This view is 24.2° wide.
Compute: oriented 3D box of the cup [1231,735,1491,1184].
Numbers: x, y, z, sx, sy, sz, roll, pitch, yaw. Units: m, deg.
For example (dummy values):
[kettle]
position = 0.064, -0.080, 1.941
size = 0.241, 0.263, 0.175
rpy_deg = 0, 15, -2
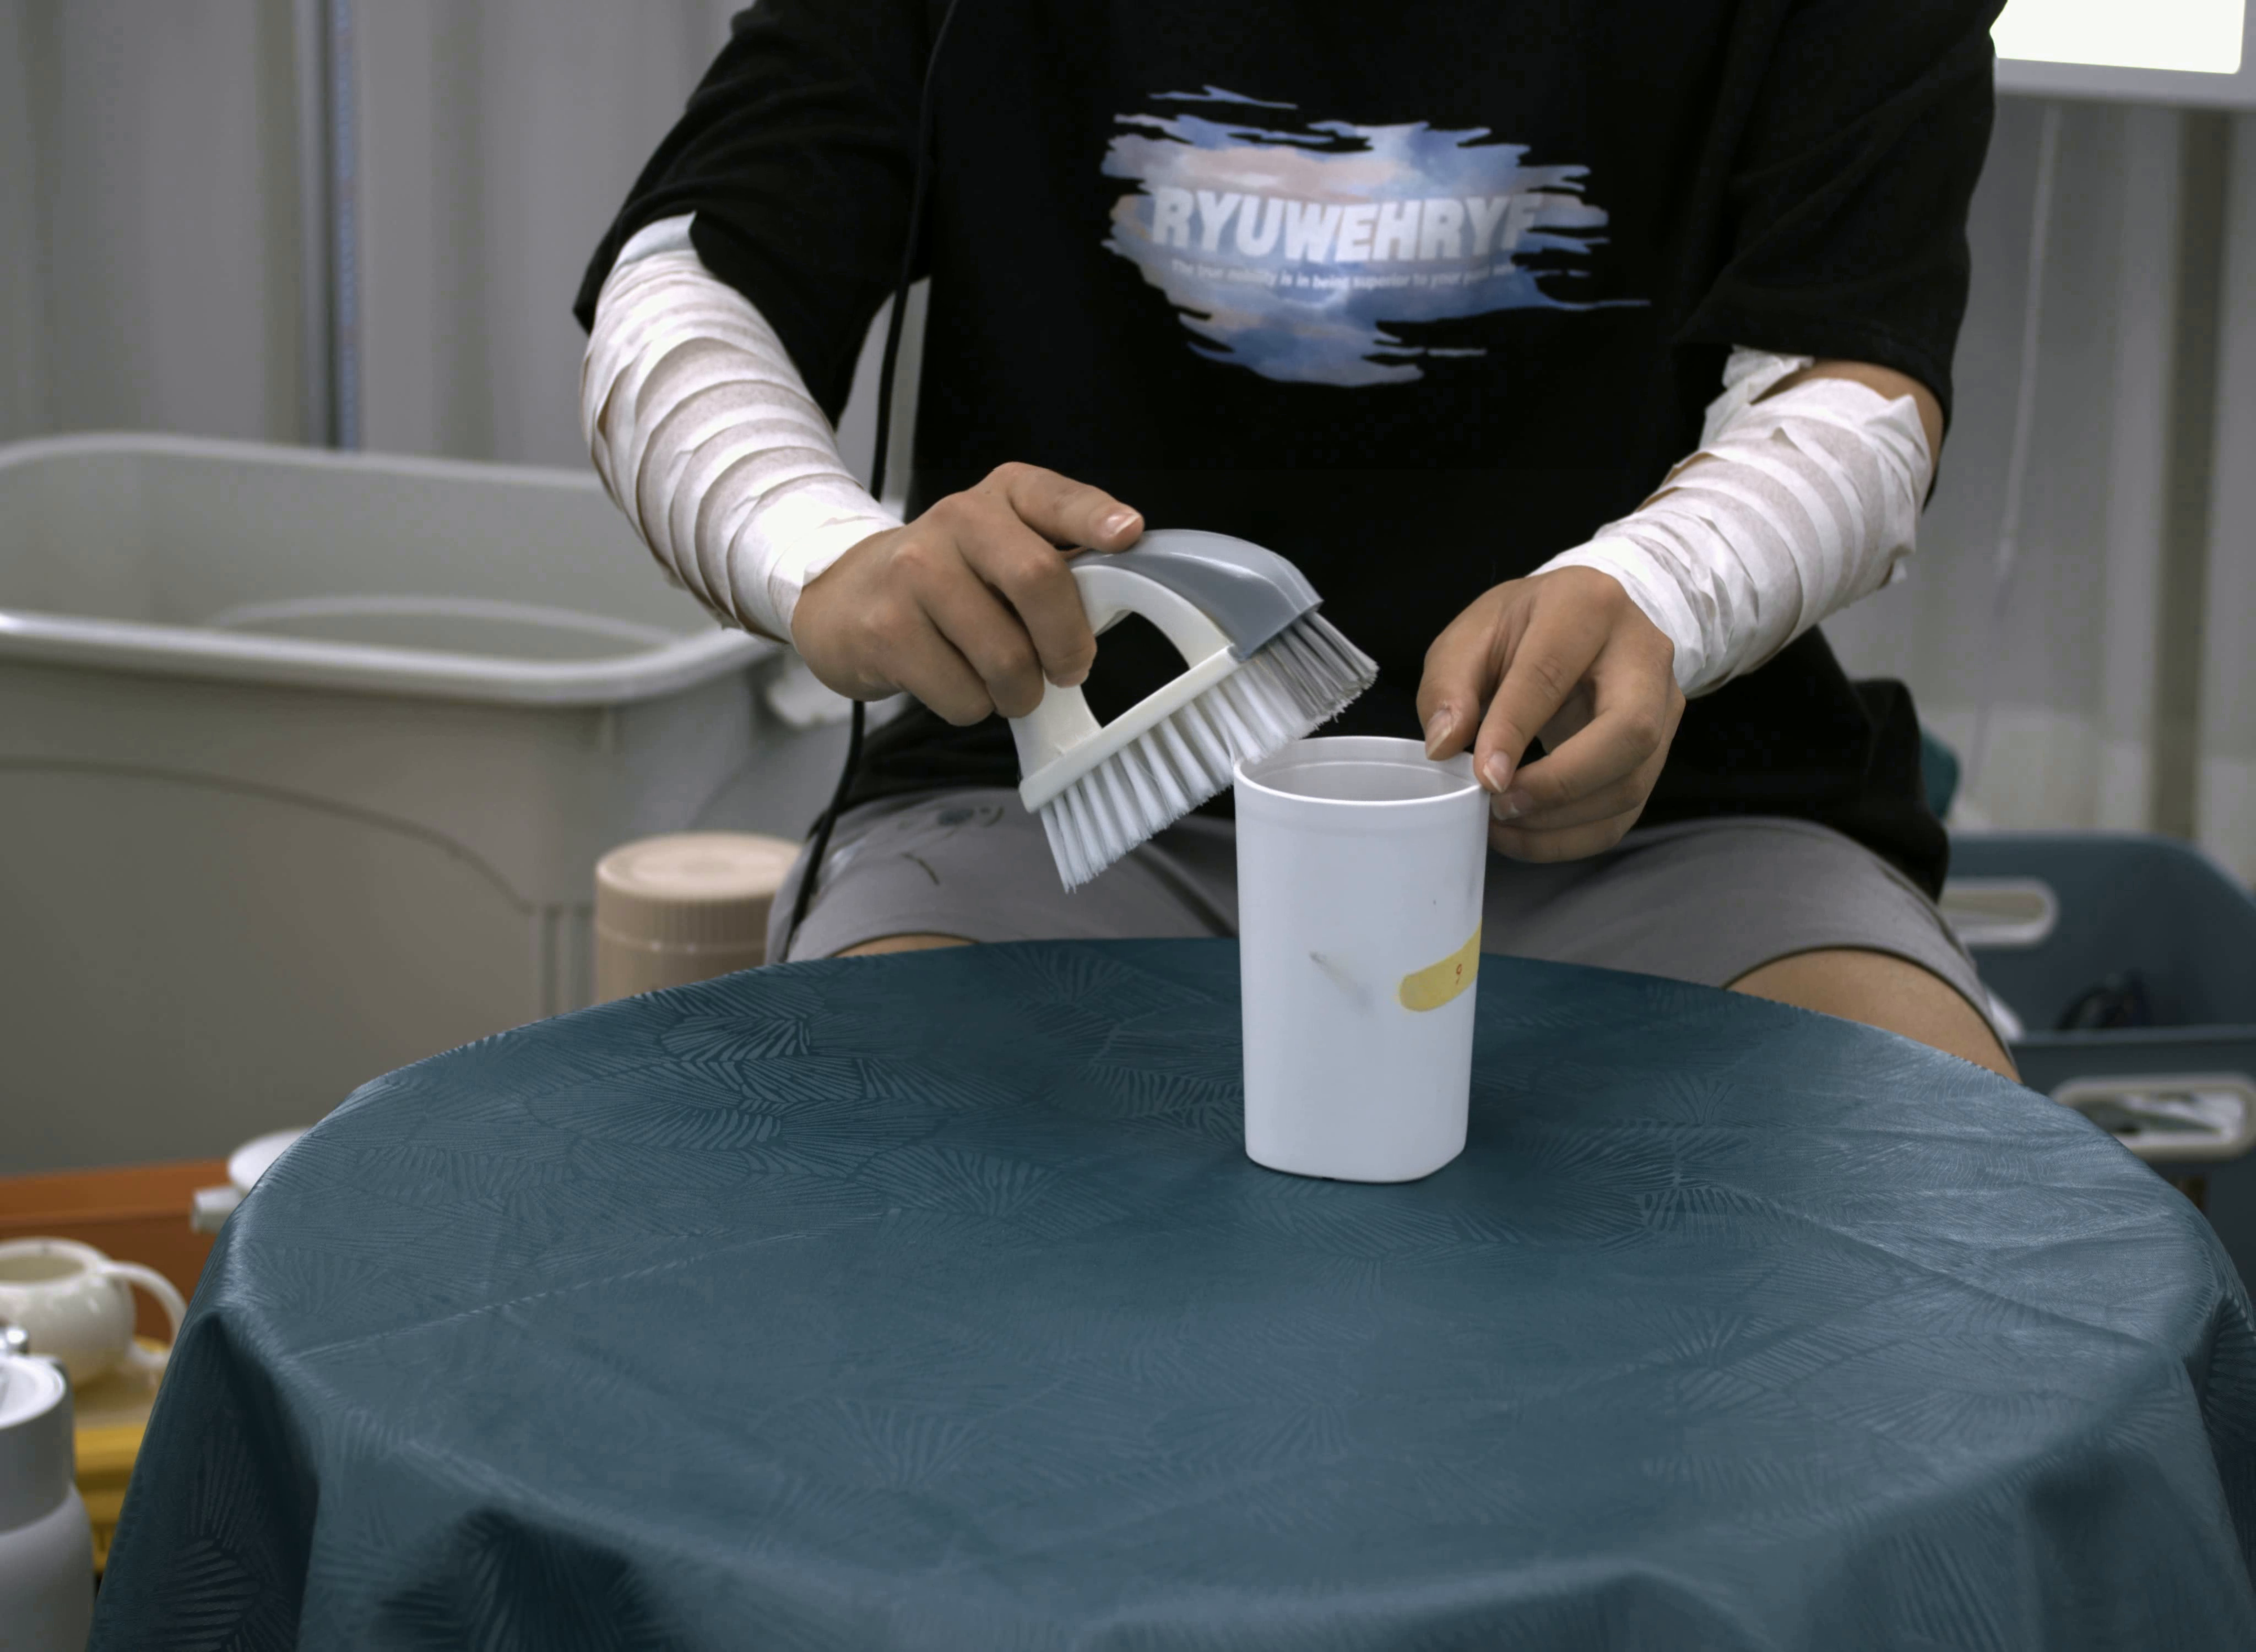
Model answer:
[cup]
position = 0.073, 0.042, 1.647
size = 0.081, 0.126, 0.081
rpy_deg = 0, 16, 1

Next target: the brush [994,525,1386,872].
[brush]
position = 0.014, -0.054, 1.680
size = 0.061, 0.094, 0.175
rpy_deg = -37, 4, -34
